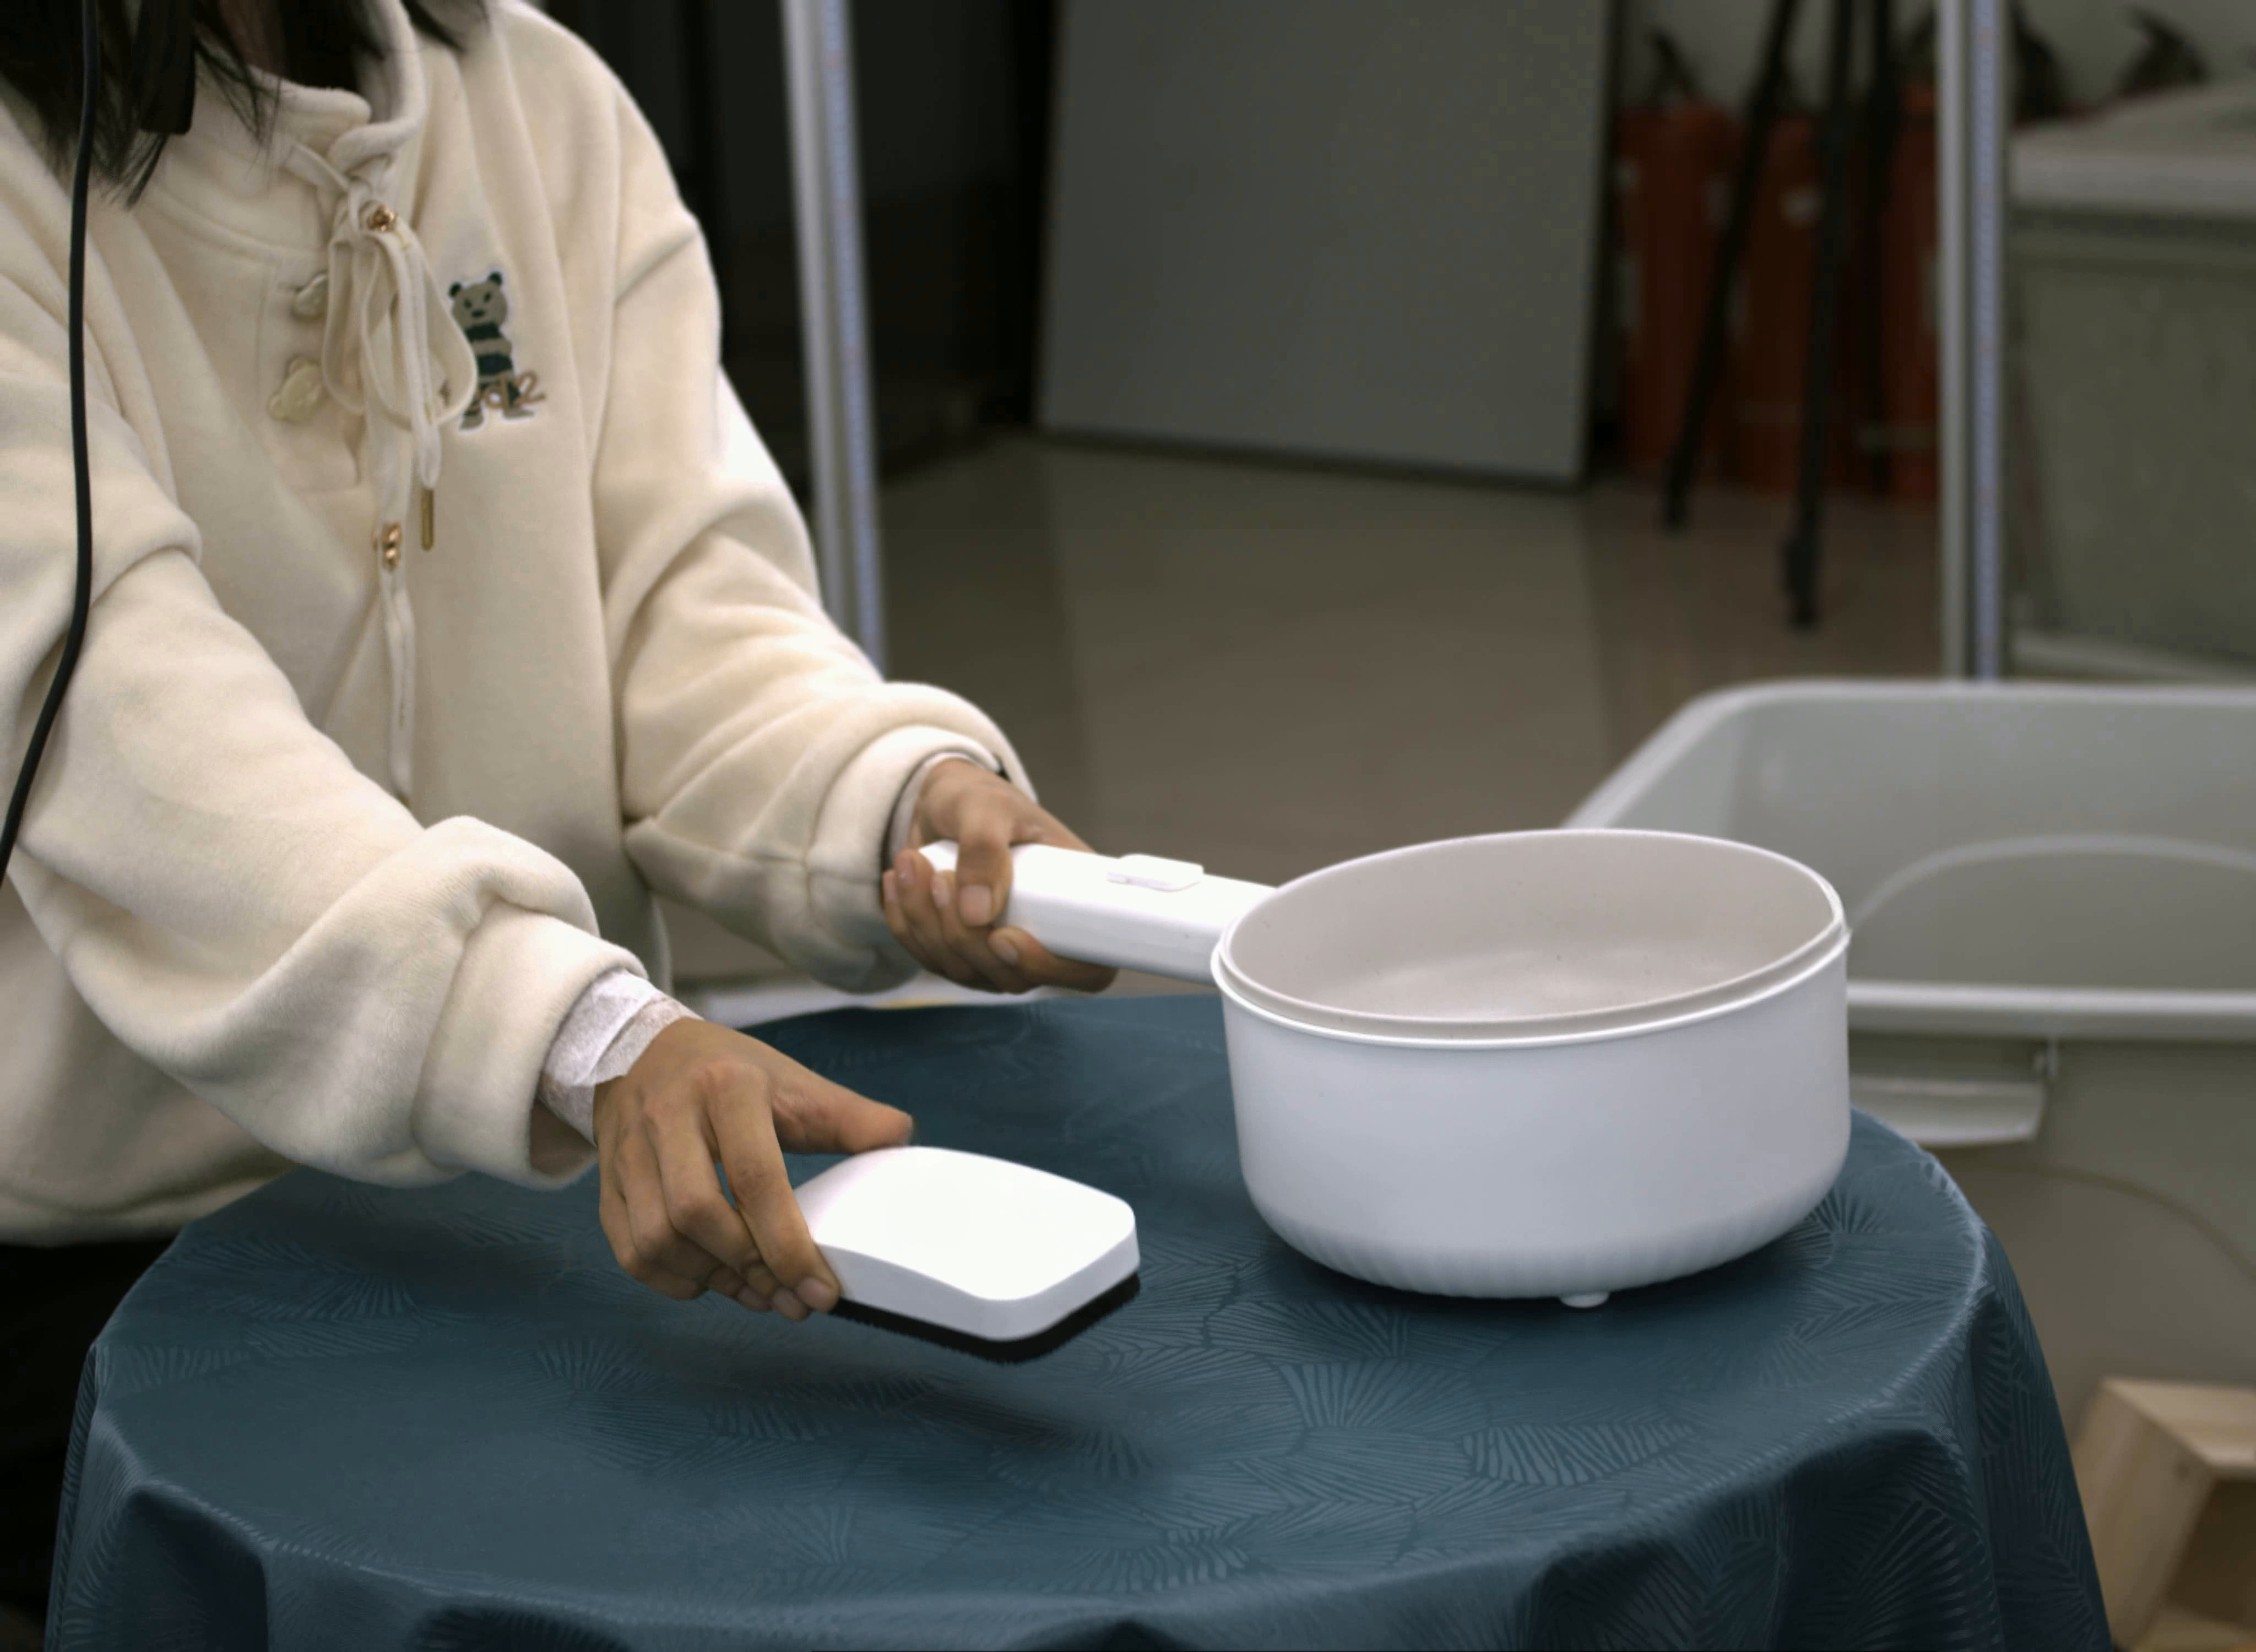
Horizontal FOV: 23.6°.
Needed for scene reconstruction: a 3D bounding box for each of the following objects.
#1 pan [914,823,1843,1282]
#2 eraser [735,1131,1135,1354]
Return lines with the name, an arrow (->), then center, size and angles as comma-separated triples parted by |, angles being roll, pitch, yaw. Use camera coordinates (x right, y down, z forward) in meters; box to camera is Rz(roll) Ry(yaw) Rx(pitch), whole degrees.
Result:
pan -> 0.070, 0.066, 1.738 | 0.358, 0.103, 0.197 | 5, 17, 43
eraser -> -0.055, 0.120, 1.576 | 0.062, 0.035, 0.132 | -28, 23, -36
